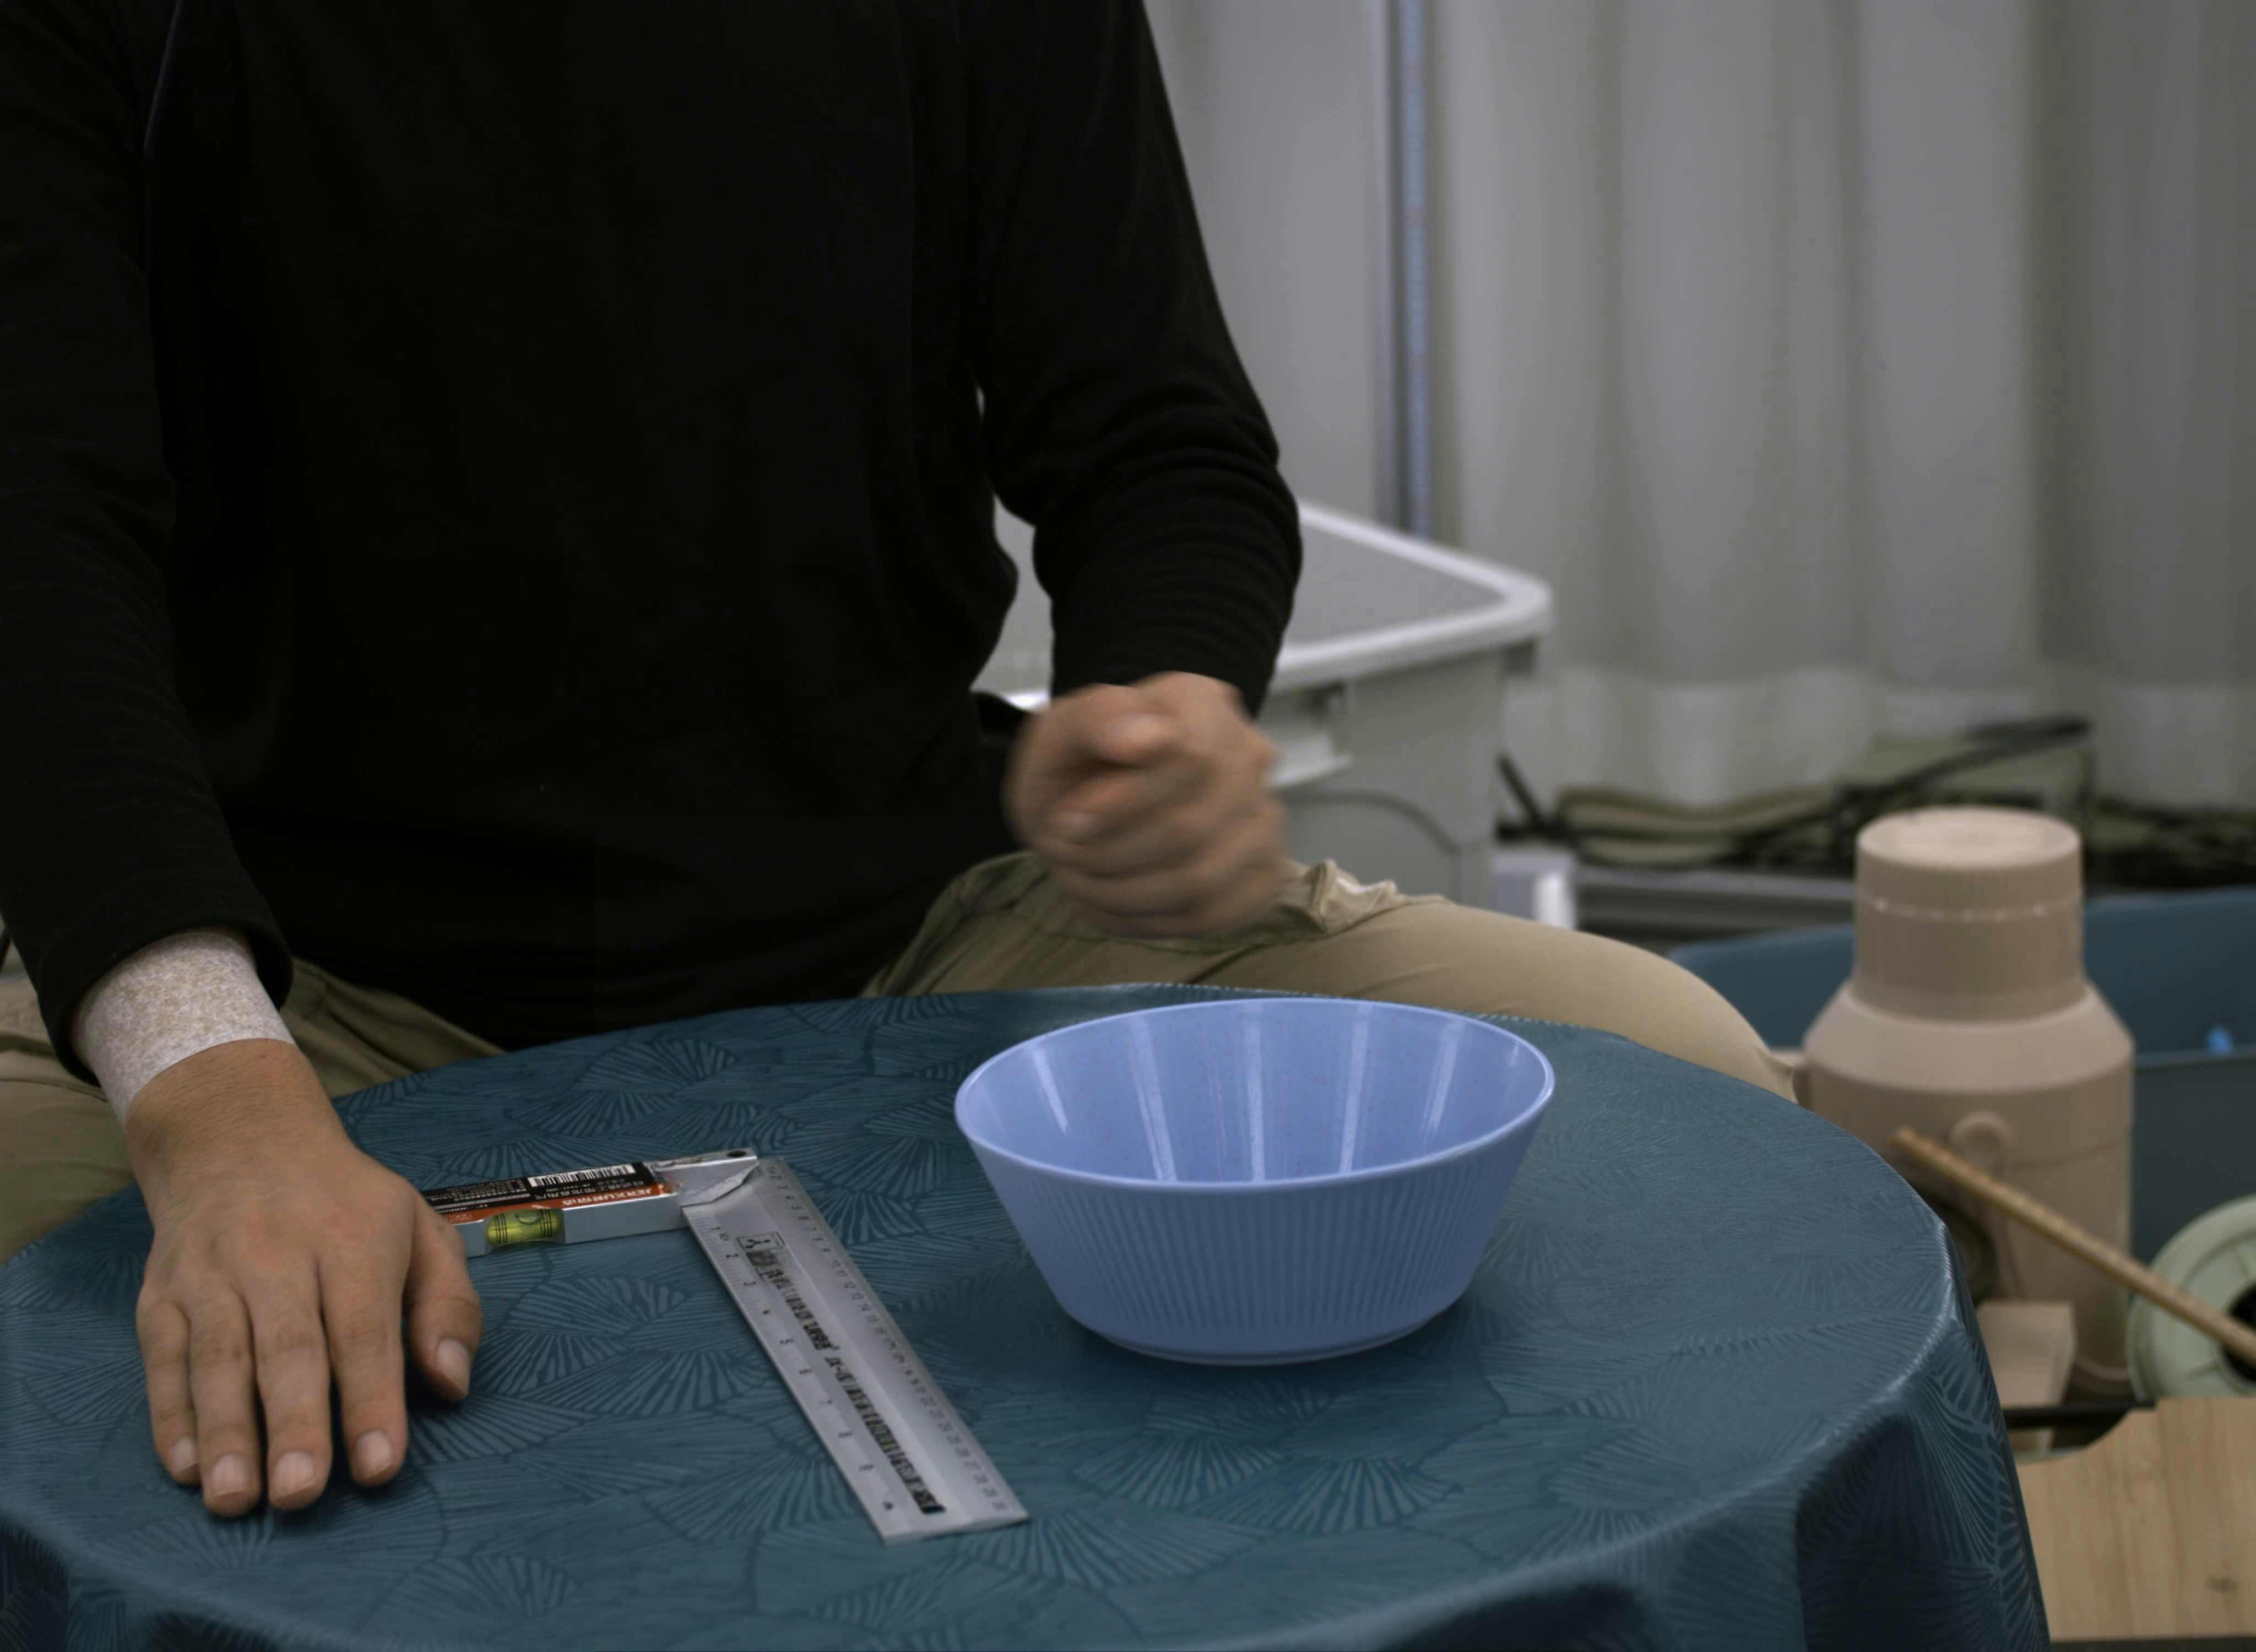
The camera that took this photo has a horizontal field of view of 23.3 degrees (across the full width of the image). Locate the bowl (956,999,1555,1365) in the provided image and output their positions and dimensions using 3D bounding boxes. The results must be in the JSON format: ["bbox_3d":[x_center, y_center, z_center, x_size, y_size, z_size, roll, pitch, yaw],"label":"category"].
[{"bbox_3d":[0.038,0.107,1.602,0.175,0.070,0.177,-3,15,1],"label":"bowl"}]

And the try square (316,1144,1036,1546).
[{"bbox_3d":[-0.139,0.156,1.580,0.151,0.016,0.315,-10,17,-13],"label":"try square"}]
